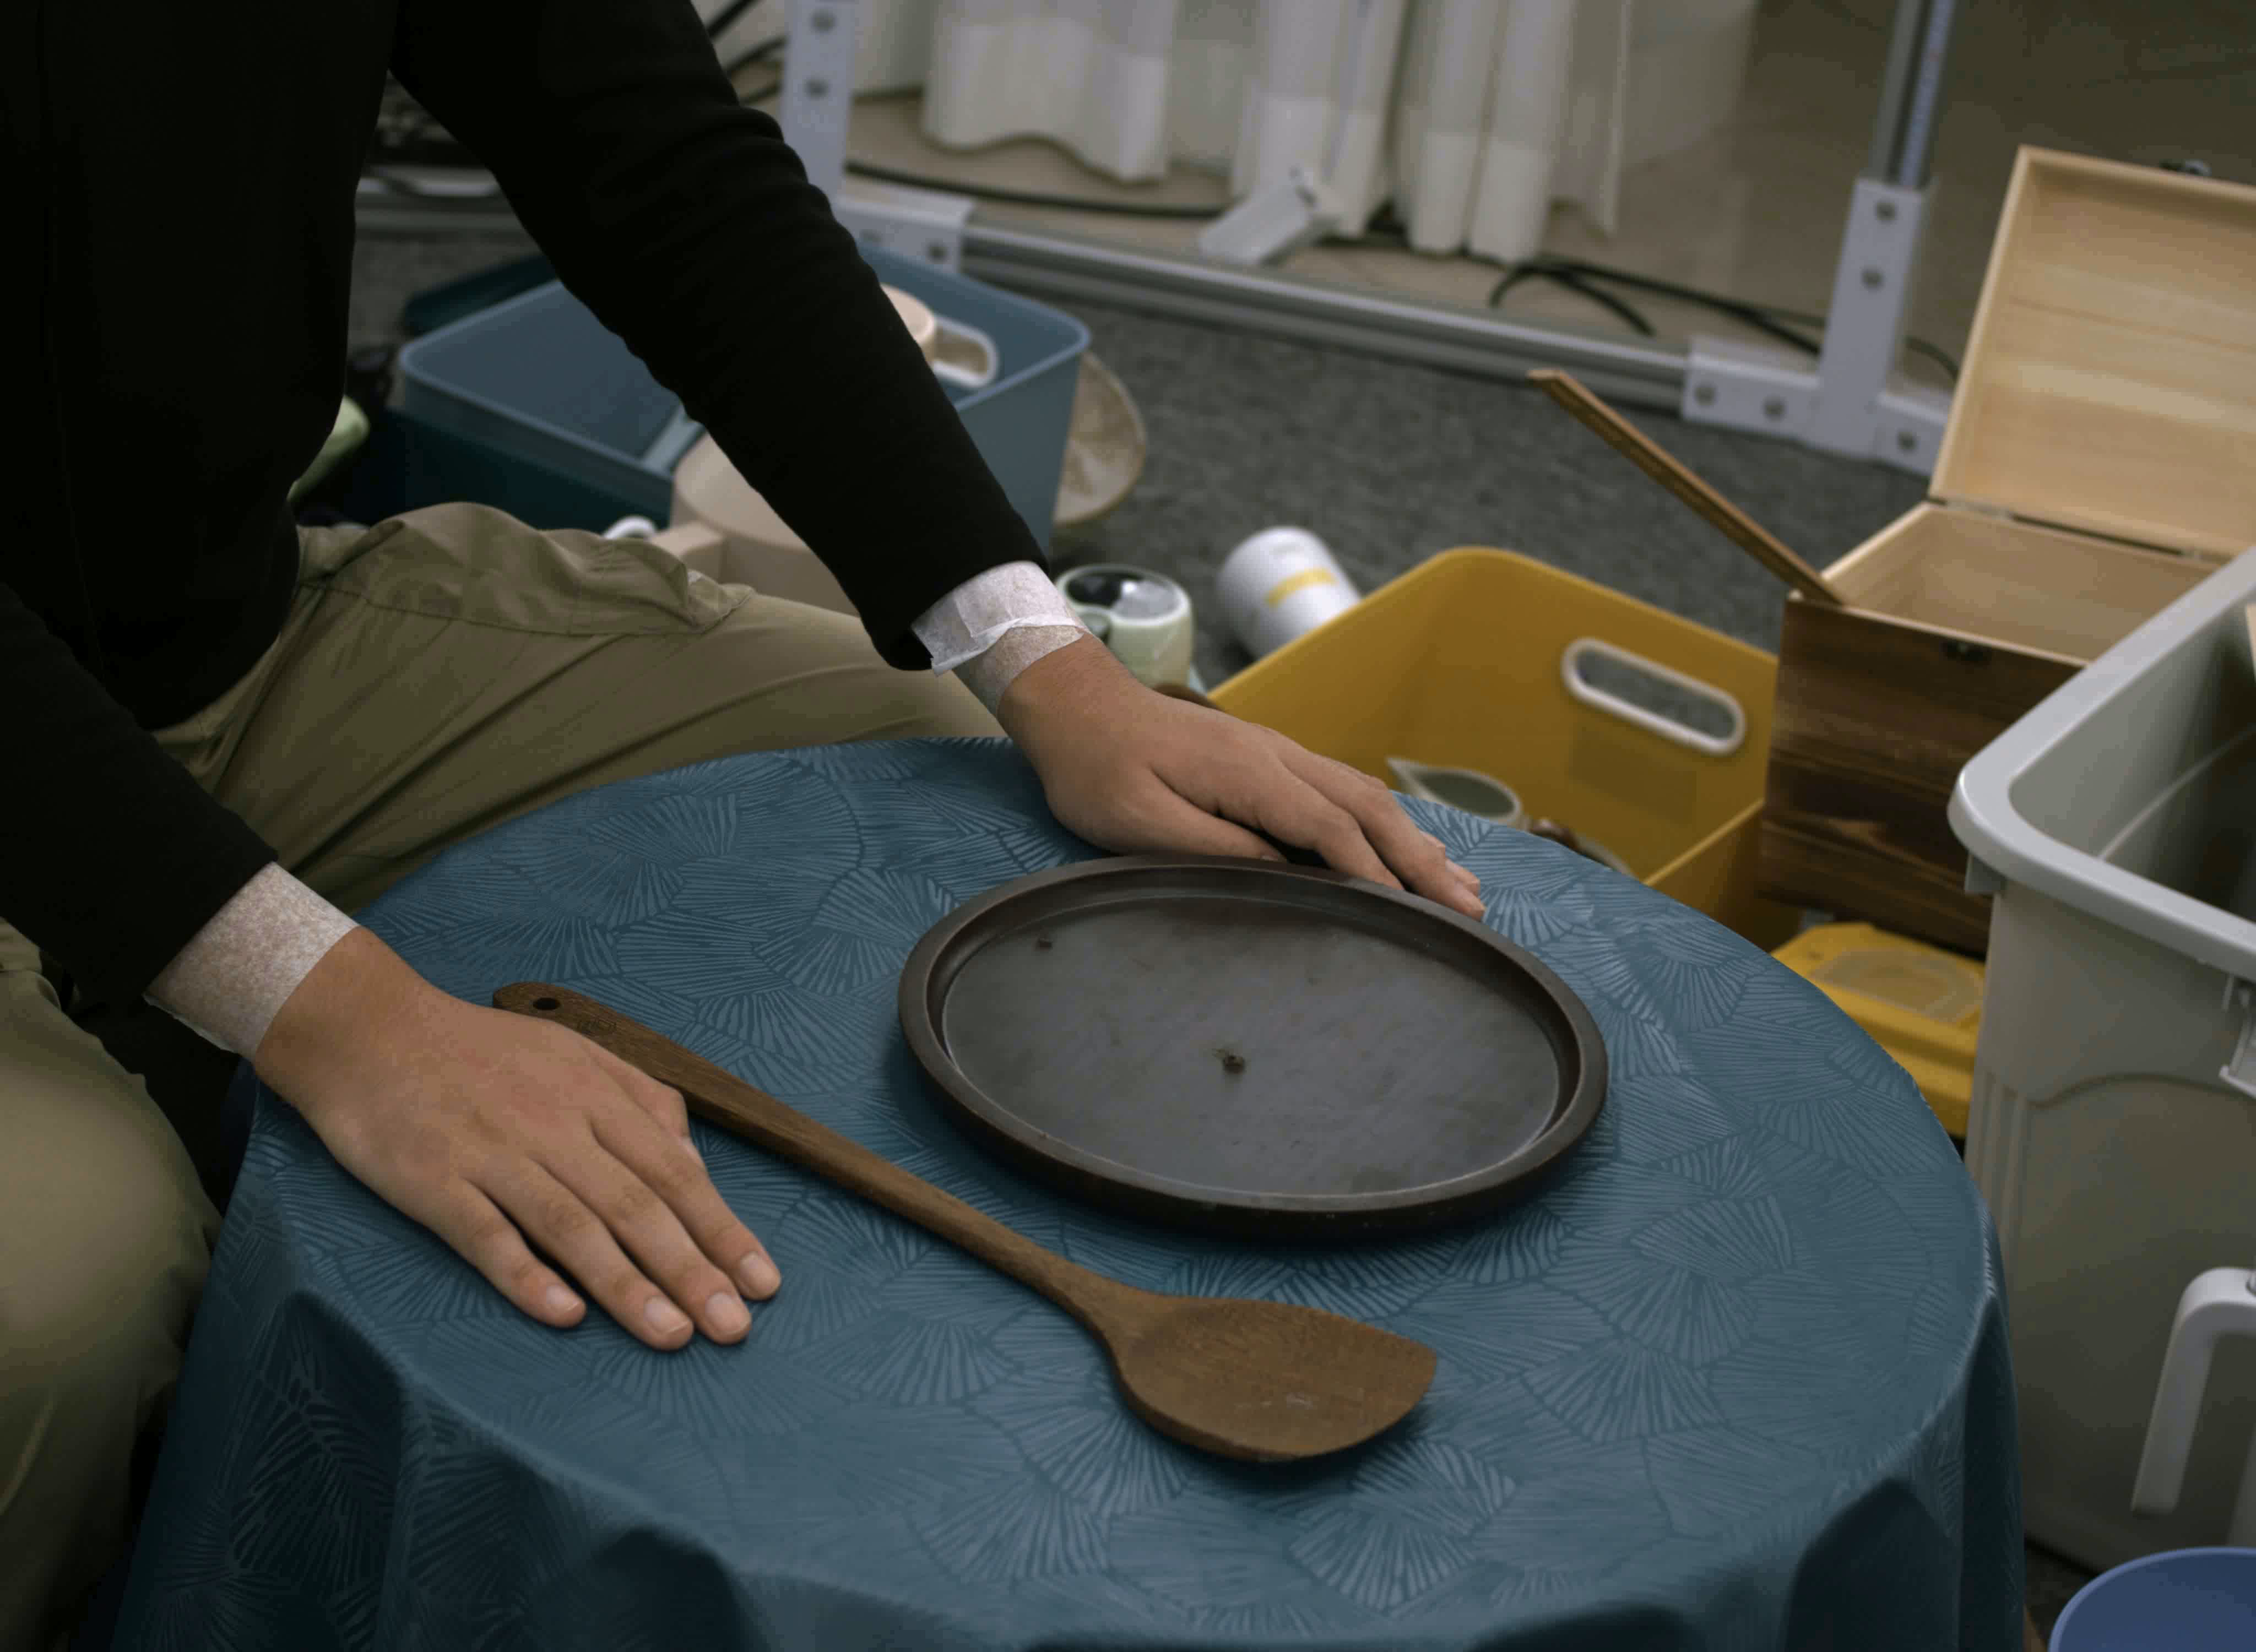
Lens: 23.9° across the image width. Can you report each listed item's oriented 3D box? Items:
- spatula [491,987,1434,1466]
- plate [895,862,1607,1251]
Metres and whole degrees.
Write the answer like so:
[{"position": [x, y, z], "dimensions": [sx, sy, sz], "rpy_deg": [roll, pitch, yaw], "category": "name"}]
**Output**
[{"position": [-0.070, 0.125, 1.768], "dimensions": [0.388, 0.016, 0.096], "rpy_deg": [24, 31, 31], "category": "spatula"}, {"position": [0.042, 0.079, 1.876], "dimensions": [0.254, 0.029, 0.256], "rpy_deg": [6, 28, -4], "category": "plate"}]
